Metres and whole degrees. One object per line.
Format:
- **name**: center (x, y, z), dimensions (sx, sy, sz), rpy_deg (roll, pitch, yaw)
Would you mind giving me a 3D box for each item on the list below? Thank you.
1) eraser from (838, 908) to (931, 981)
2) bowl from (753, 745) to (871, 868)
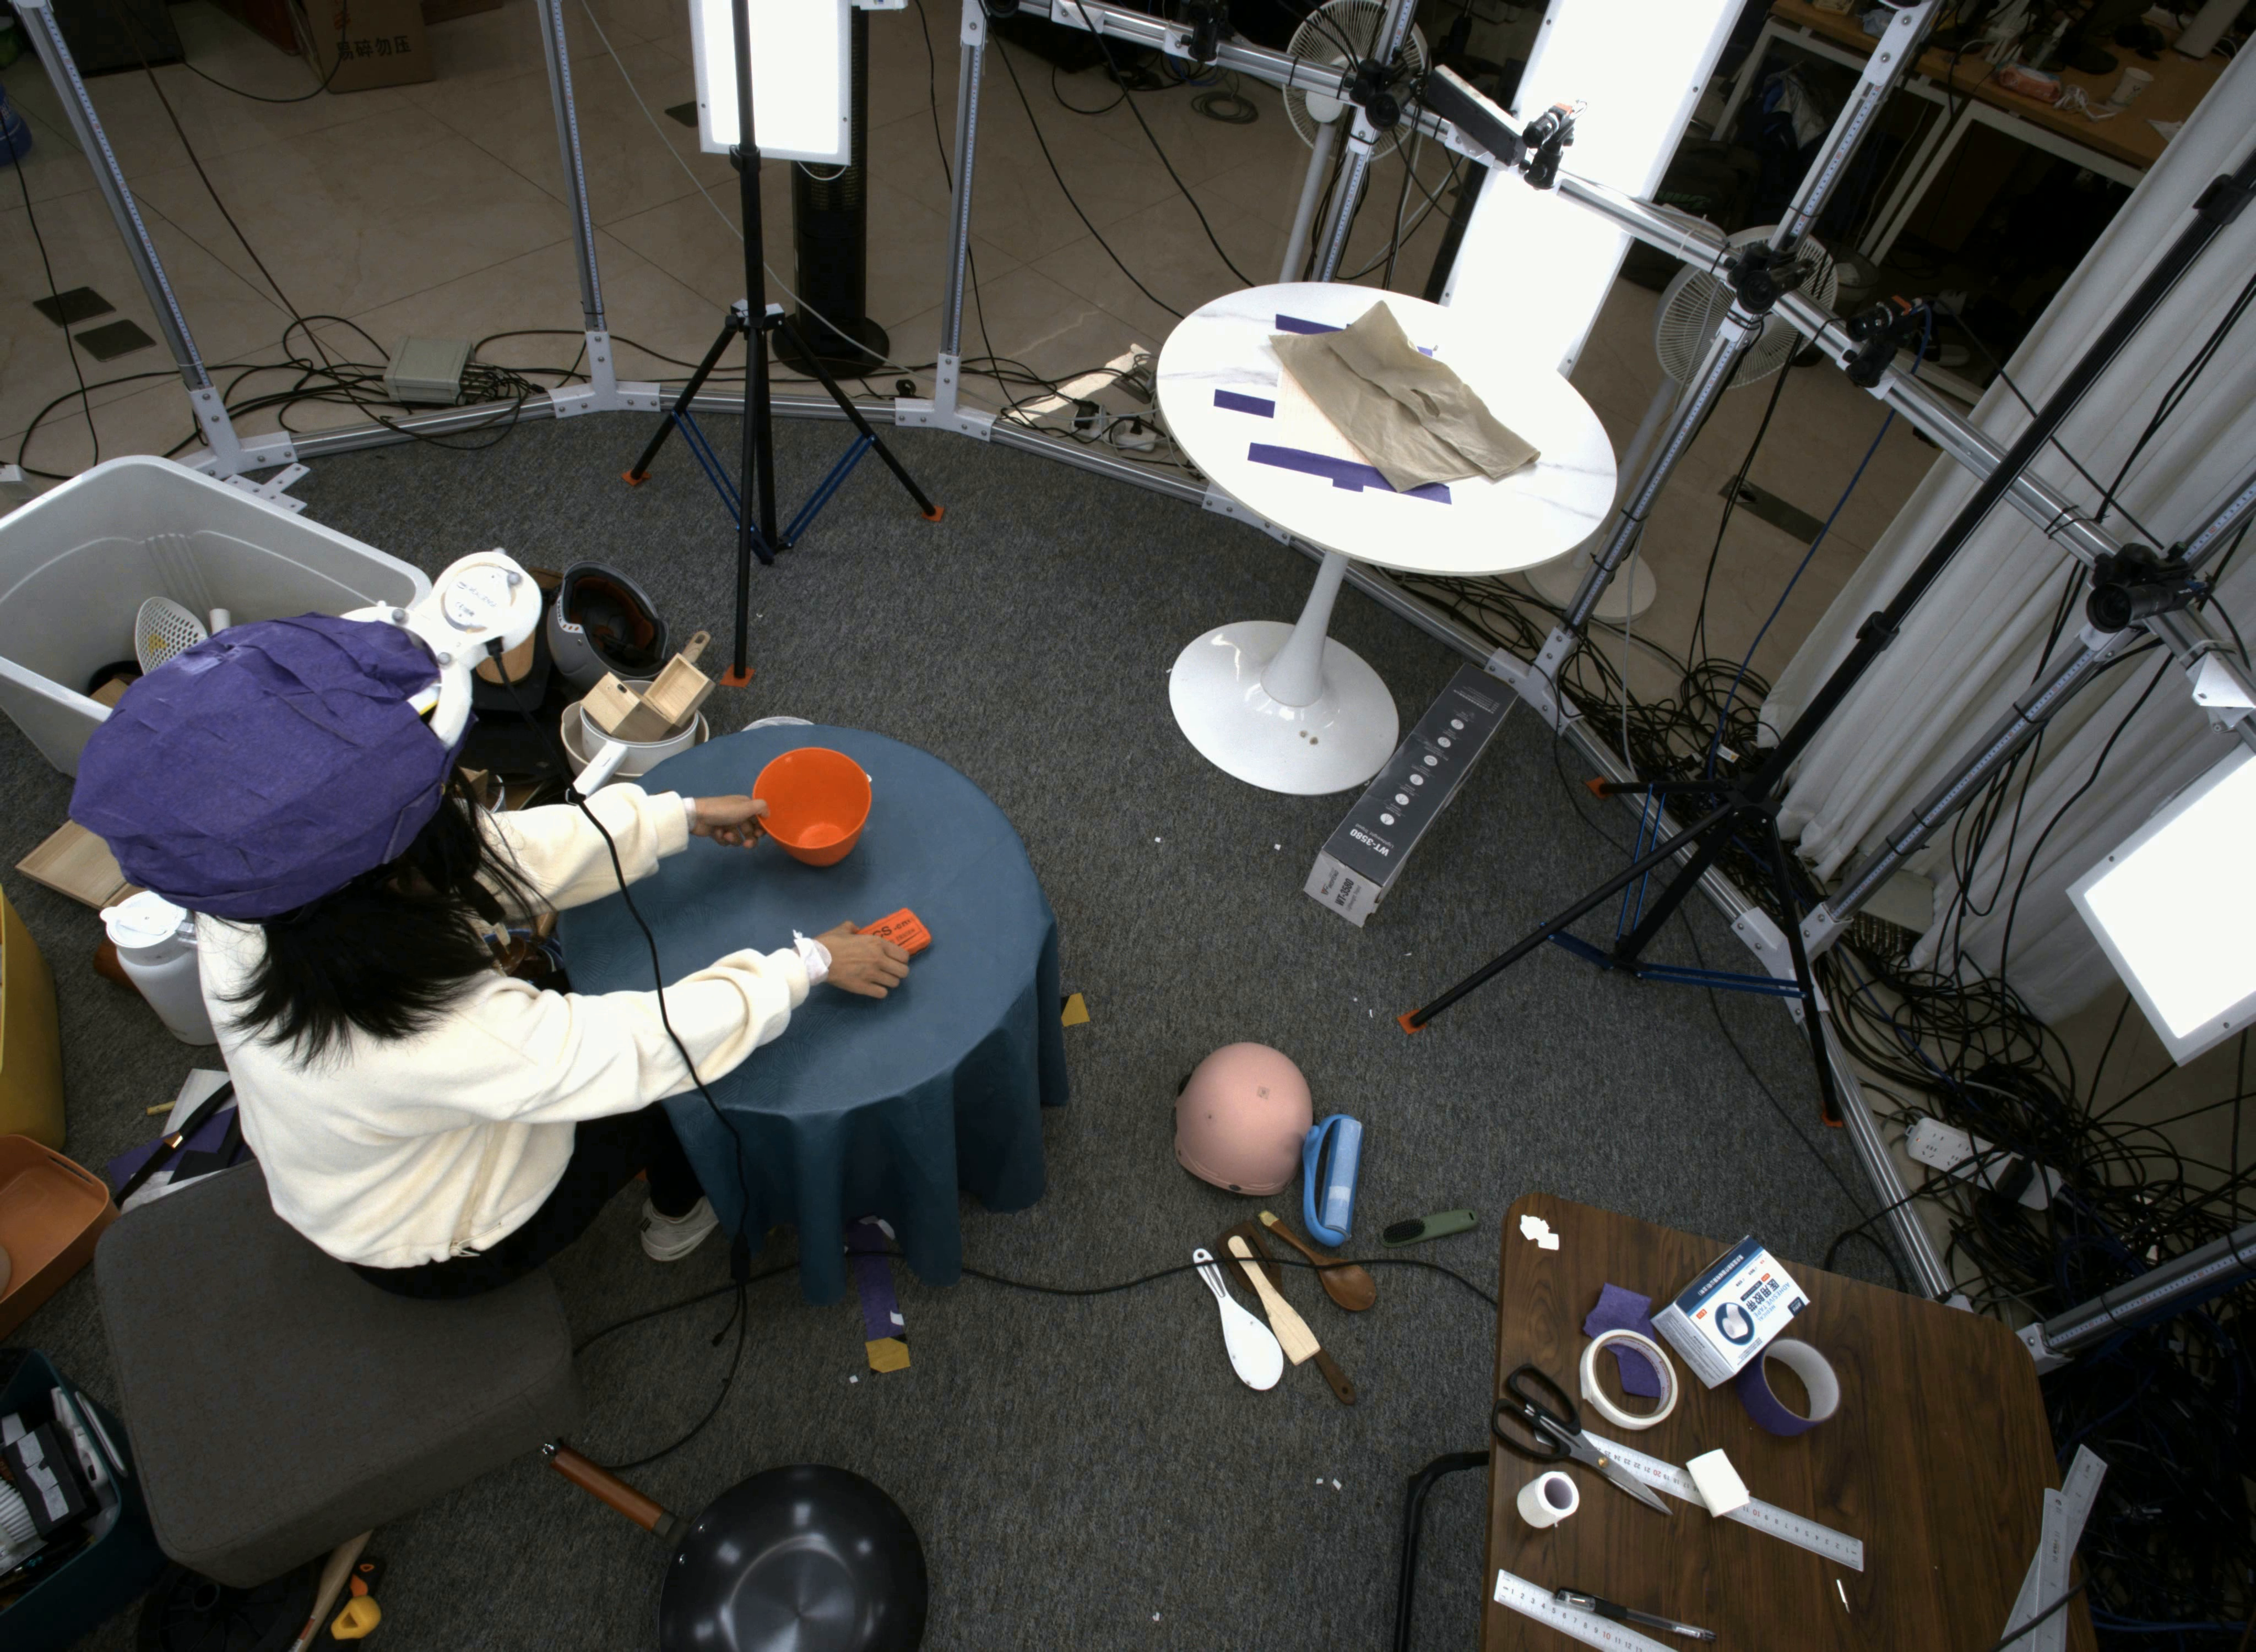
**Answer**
- **eraser**: center (-0.304, 0.146, 1.626), dimensions (0.108, 0.023, 0.057), rpy_deg (-25, 66, -29)
- **bowl**: center (-0.403, -0.015, 1.668), dimensions (0.147, 0.107, 0.145), rpy_deg (6, 52, -6)
